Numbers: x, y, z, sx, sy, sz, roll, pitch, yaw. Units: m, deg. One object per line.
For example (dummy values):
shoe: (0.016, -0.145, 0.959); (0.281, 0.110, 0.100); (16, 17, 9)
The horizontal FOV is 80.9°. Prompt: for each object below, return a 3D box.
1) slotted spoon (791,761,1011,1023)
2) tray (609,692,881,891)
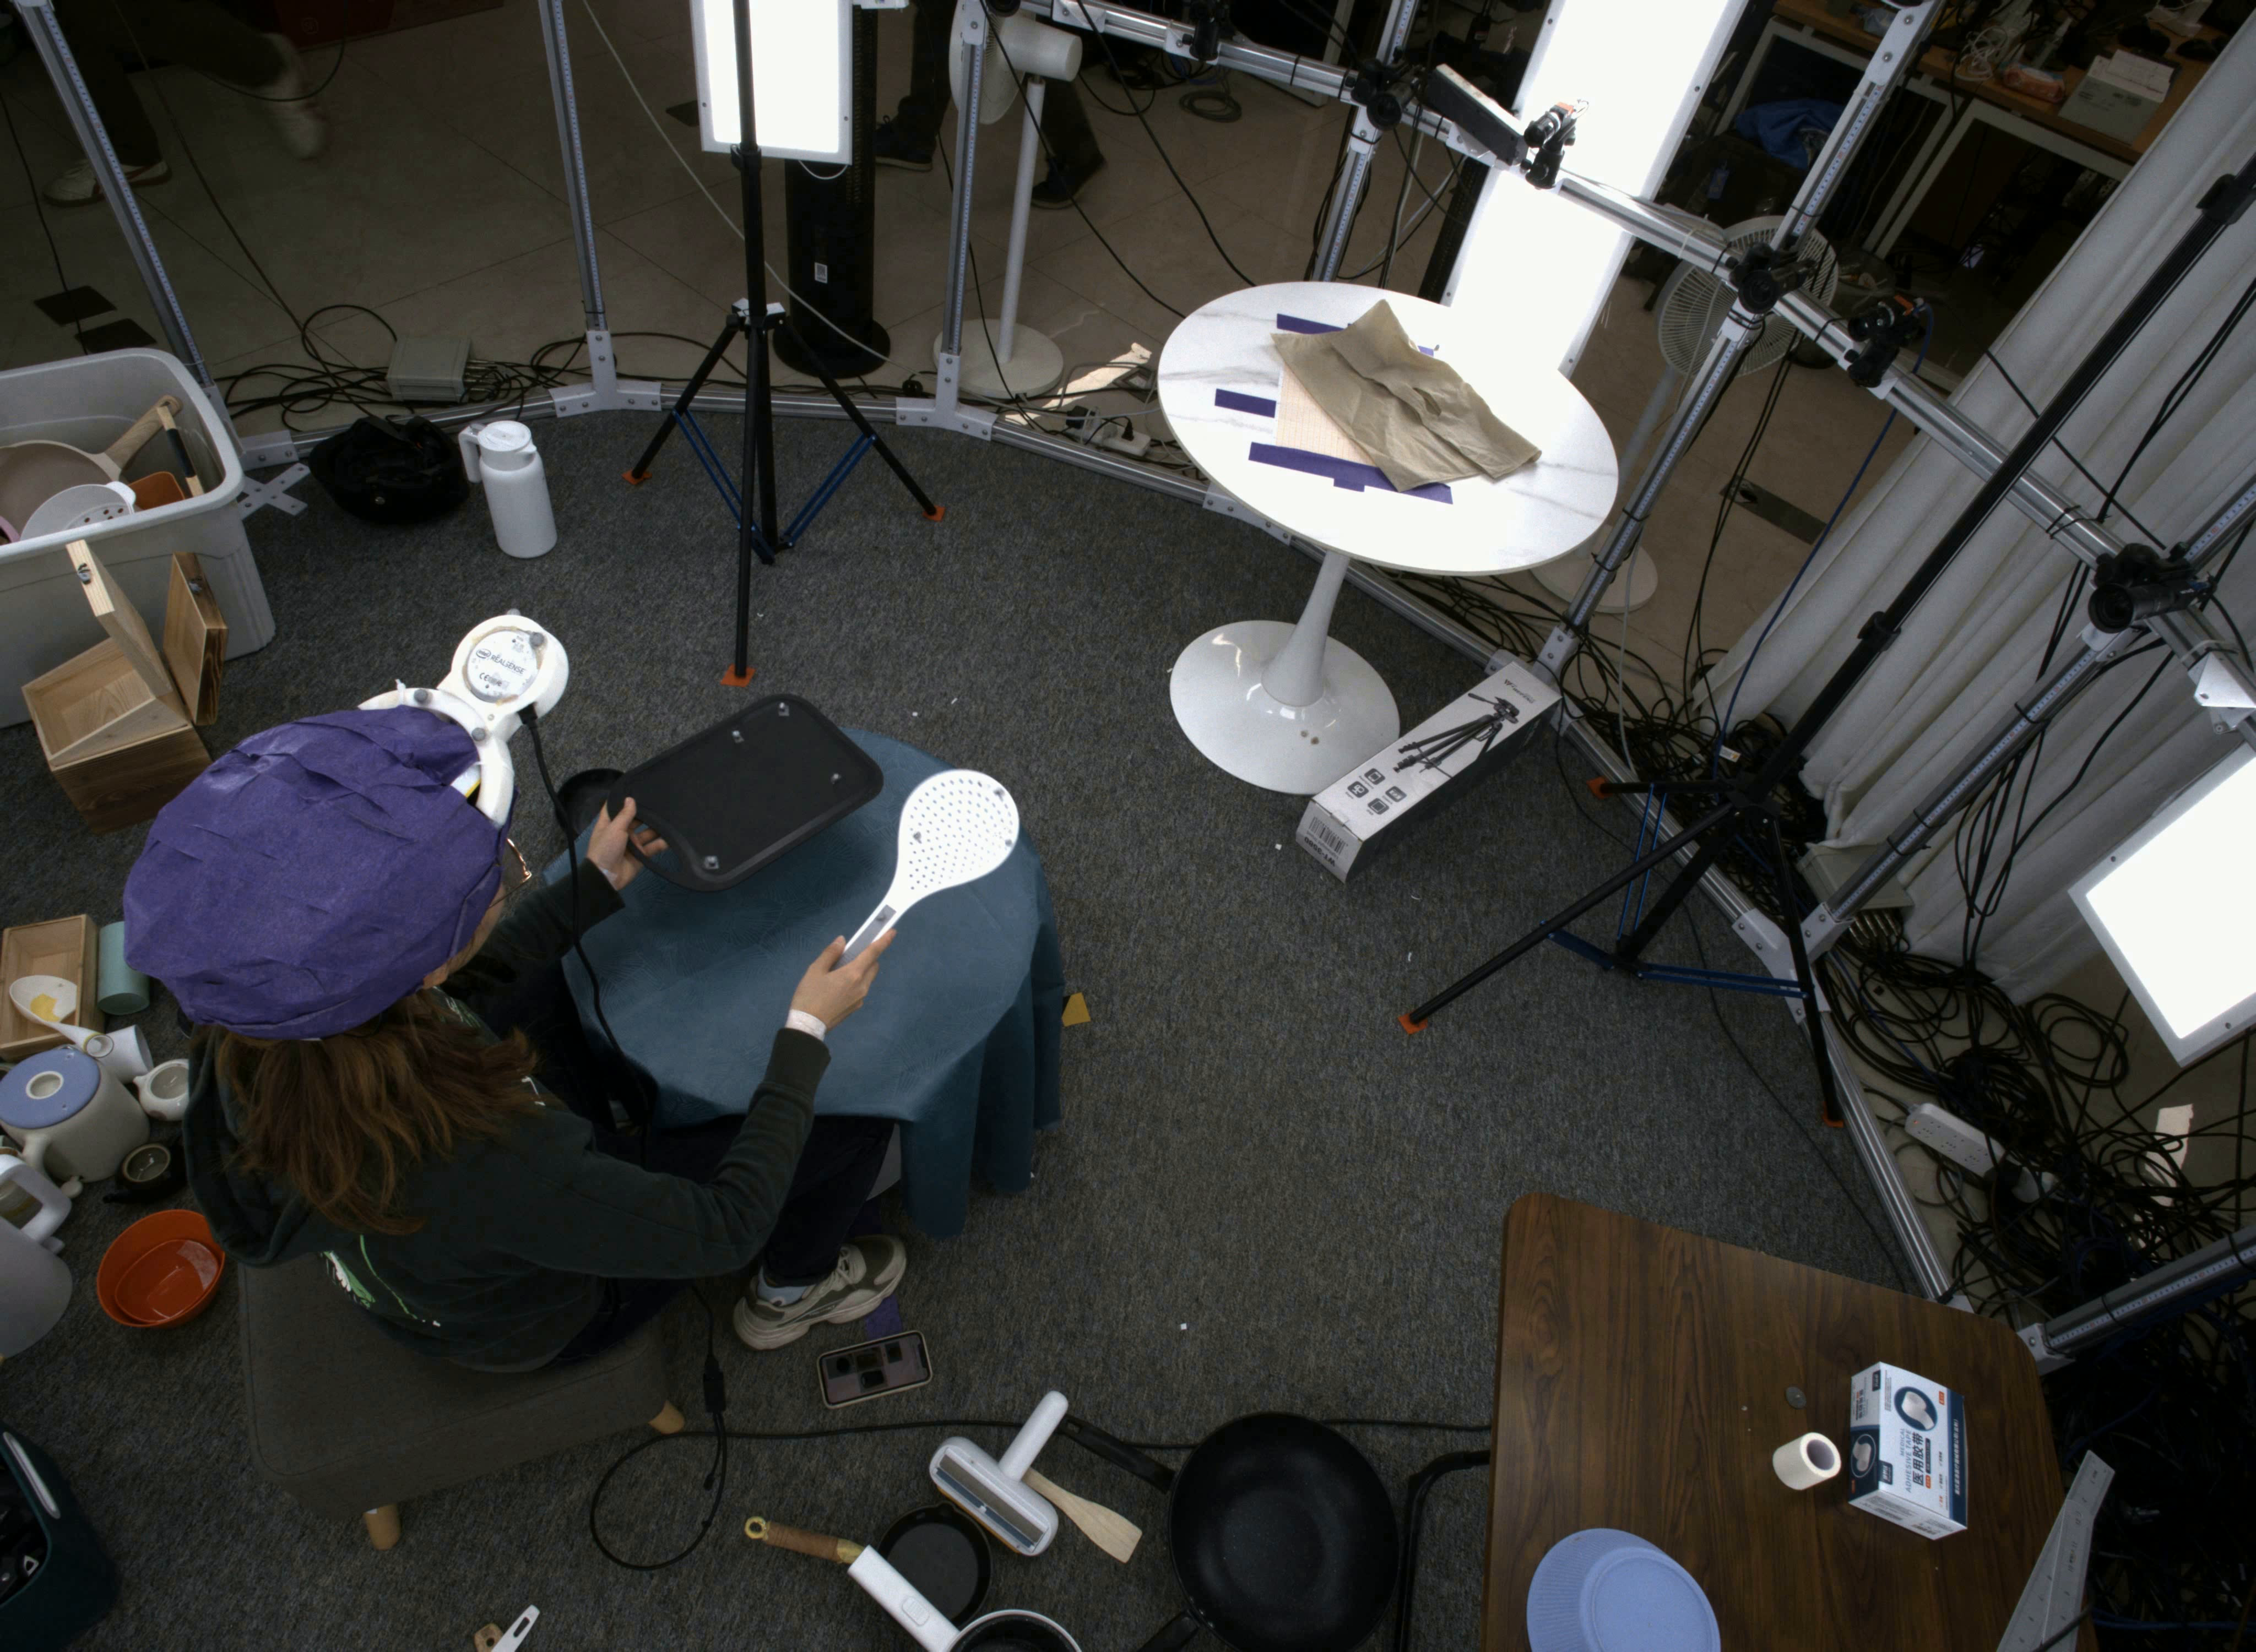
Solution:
slotted spoon: (-0.262, 0.074, 1.474); (0.134, 0.046, 0.349); (33, 68, 10)
tray: (-0.475, -0.047, 1.594); (0.207, 0.010, 0.326); (42, 51, 13)
